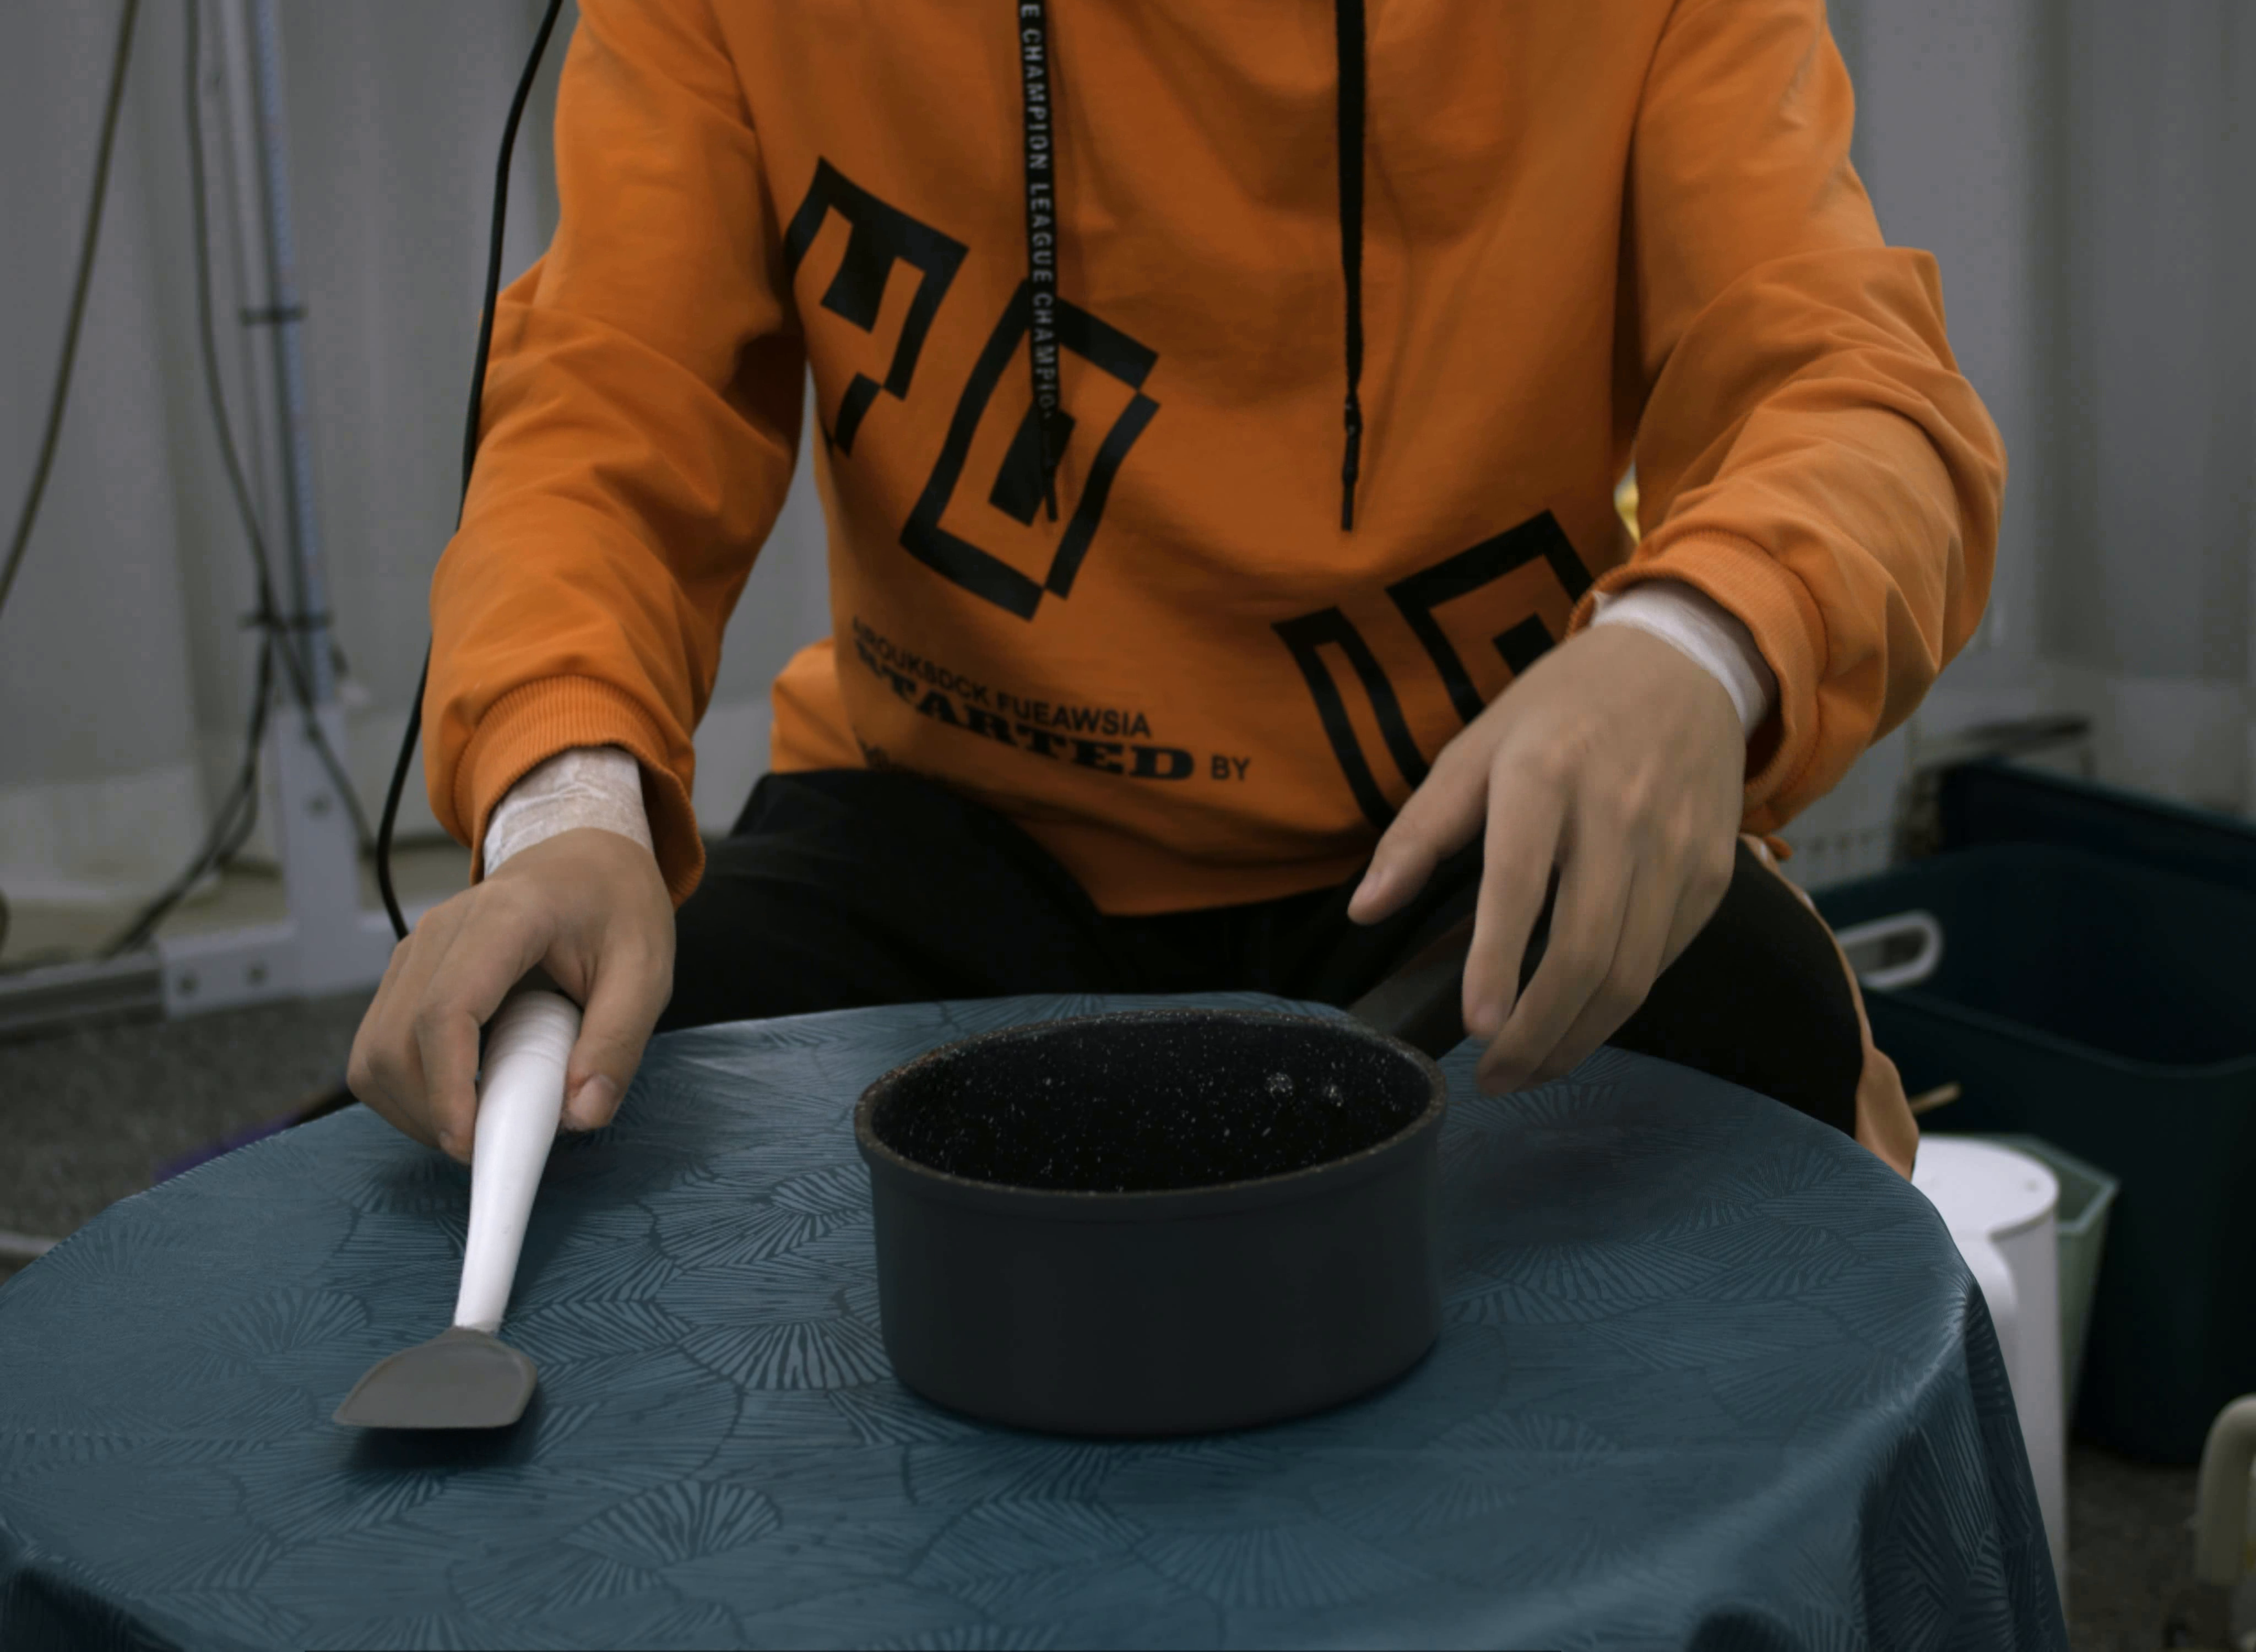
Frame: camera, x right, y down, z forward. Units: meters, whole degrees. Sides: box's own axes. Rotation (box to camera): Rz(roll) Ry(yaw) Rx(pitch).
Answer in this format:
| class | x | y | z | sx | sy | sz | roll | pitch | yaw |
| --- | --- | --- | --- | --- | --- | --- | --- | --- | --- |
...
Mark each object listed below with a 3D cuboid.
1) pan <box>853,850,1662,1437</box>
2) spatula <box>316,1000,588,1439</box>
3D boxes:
| class | x | y | z | sx | sy | sz | roll | pitch | yaw |
| --- | --- | --- | --- | --- | --- | --- | --- | --- | --- |
| pan | 0.057 | 0.091 | 1.631 | 0.173 | 0.086 | 0.329 | 9 | 21 | 37 |
| spatula | -0.194 | 0.123 | 1.643 | 0.058 | 0.032 | 0.290 | 4 | 21 | 0 |
